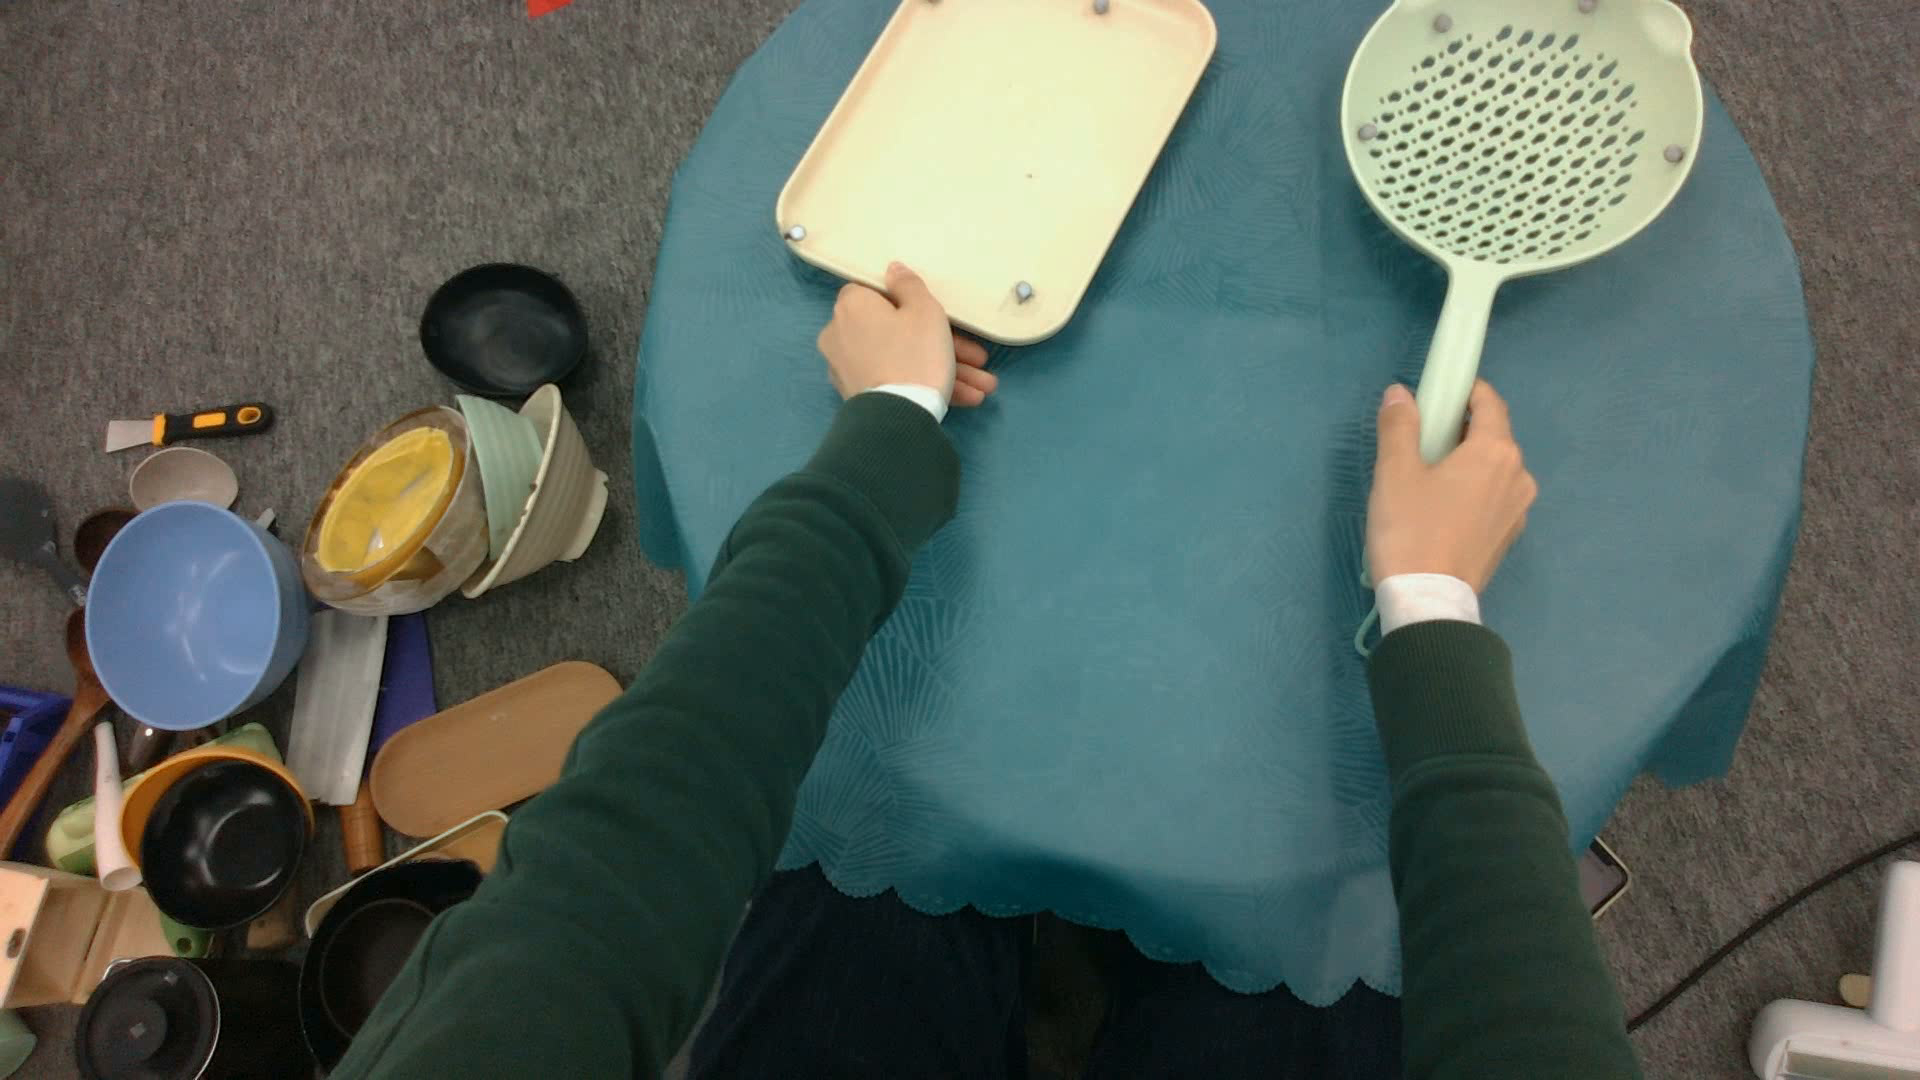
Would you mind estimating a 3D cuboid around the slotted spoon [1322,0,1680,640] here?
[{"bbox_3d":[0.241,-0.126,0.678,0.169,0.075,0.360,15,72,14],"label":"slotted spoon"}]

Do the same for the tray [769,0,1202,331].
[{"bbox_3d":[0.016,-0.231,0.746,0.171,0.017,0.240,24,73,10],"label":"tray"}]
